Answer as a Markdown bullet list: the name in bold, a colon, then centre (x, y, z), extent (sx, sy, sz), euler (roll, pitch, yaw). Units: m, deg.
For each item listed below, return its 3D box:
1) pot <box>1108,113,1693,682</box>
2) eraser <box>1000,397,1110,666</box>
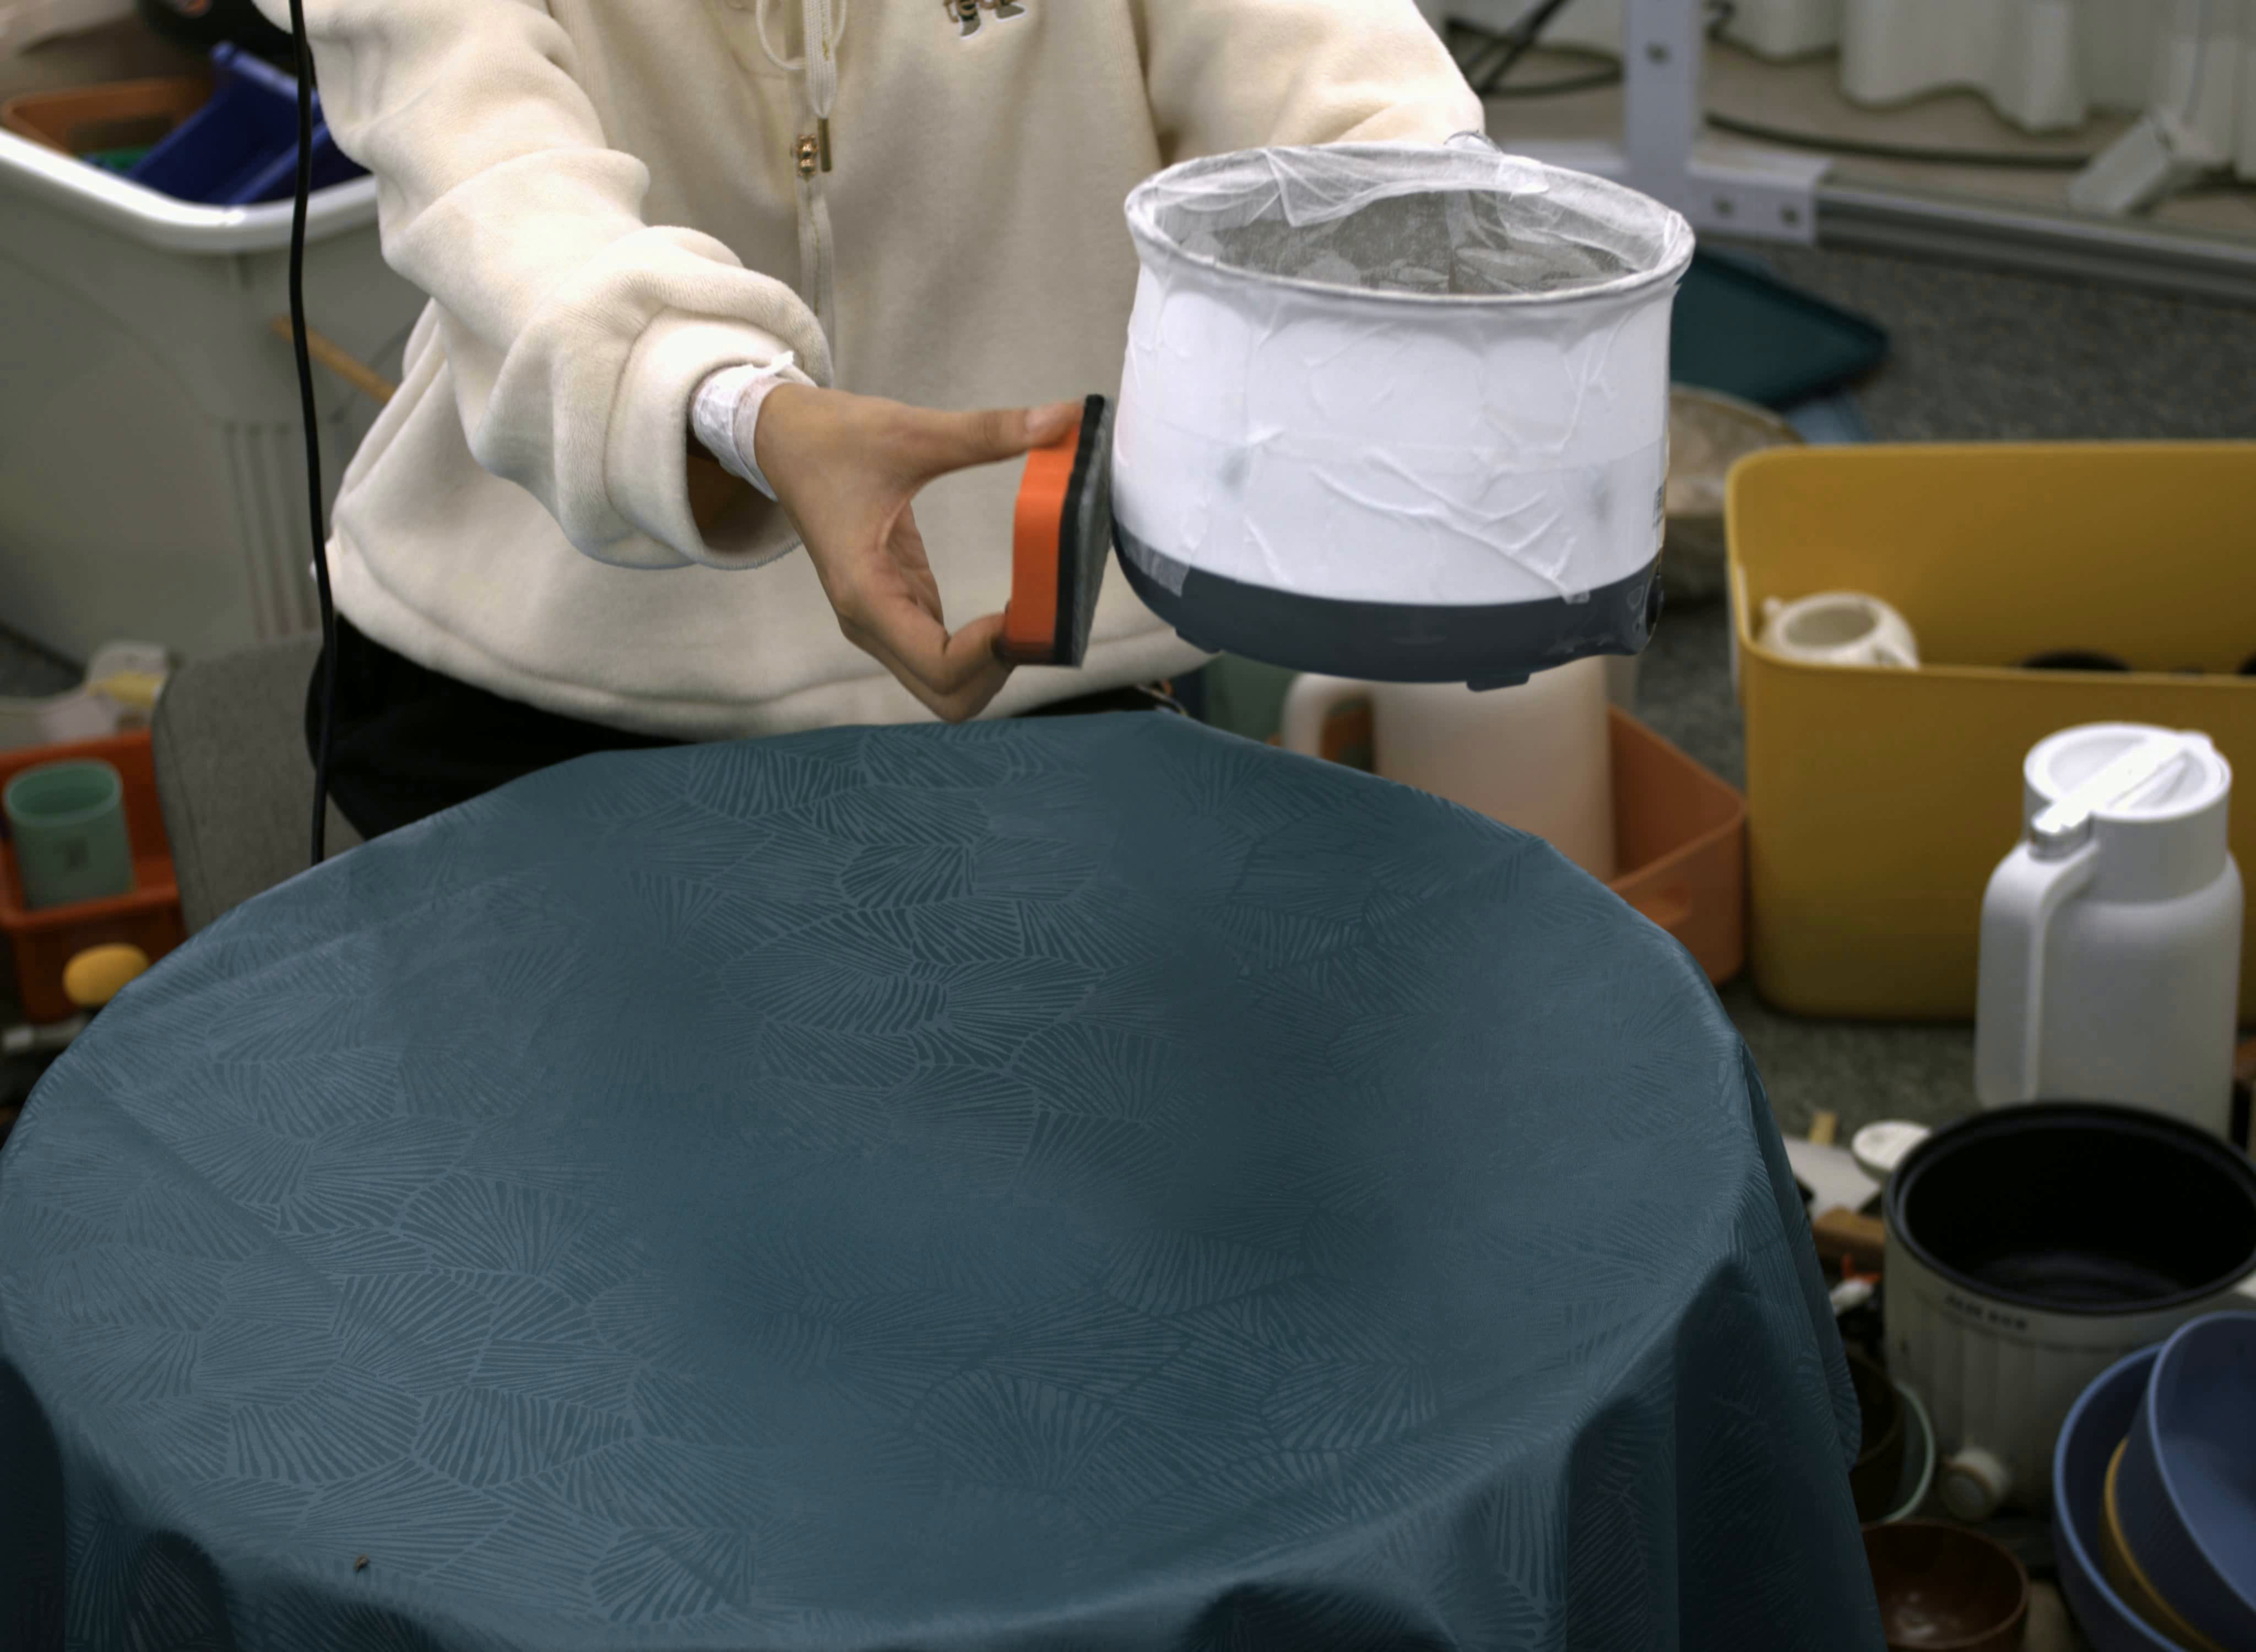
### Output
- **pot**: centre (0.089, -0.143, 1.795), extent (0.177, 0.135, 0.237), euler (8, 22, 11)
- **eraser**: centre (-0.023, -0.095, 1.794), extent (0.023, 0.058, 0.109), euler (4, 23, 6)
